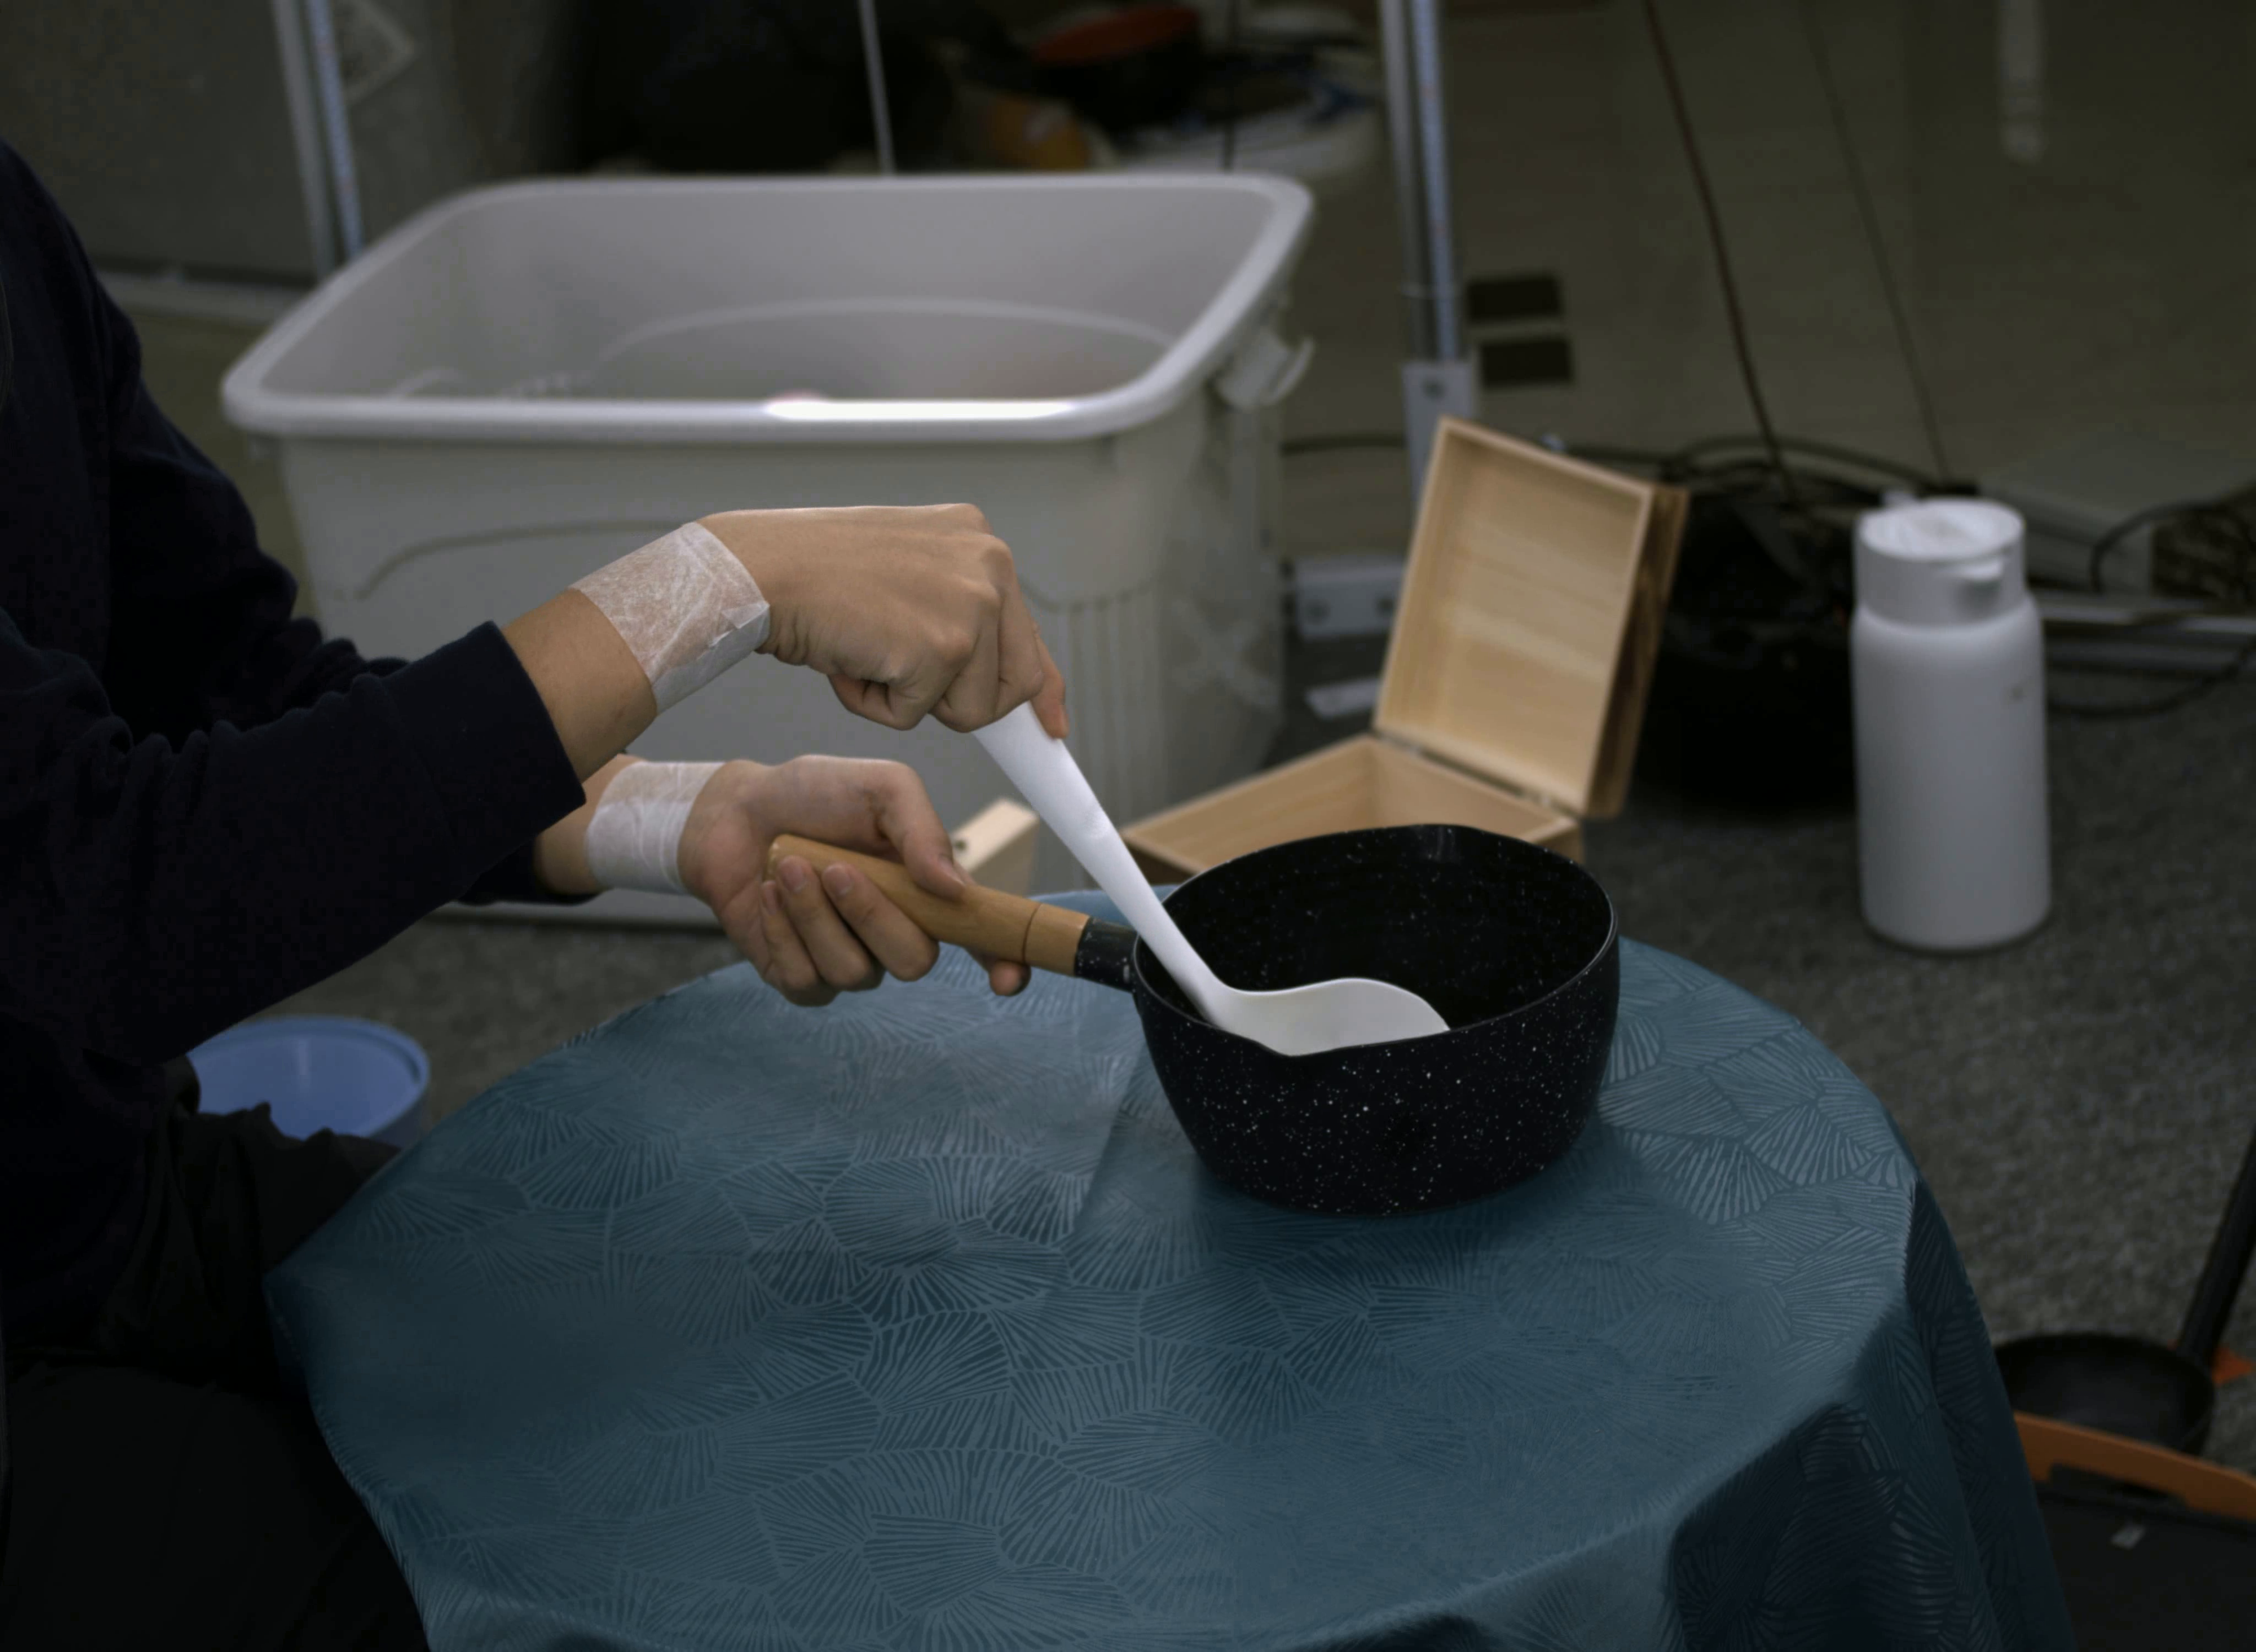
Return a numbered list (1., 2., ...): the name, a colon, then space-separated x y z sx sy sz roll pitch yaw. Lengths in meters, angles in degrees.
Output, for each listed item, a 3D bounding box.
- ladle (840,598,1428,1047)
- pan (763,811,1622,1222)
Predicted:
1. ladle: 0.008 0.024 2.096 0.070 0.296 0.089 -11 38 48
2. pan: 0.021 0.063 2.175 0.342 0.110 0.204 4 28 19
